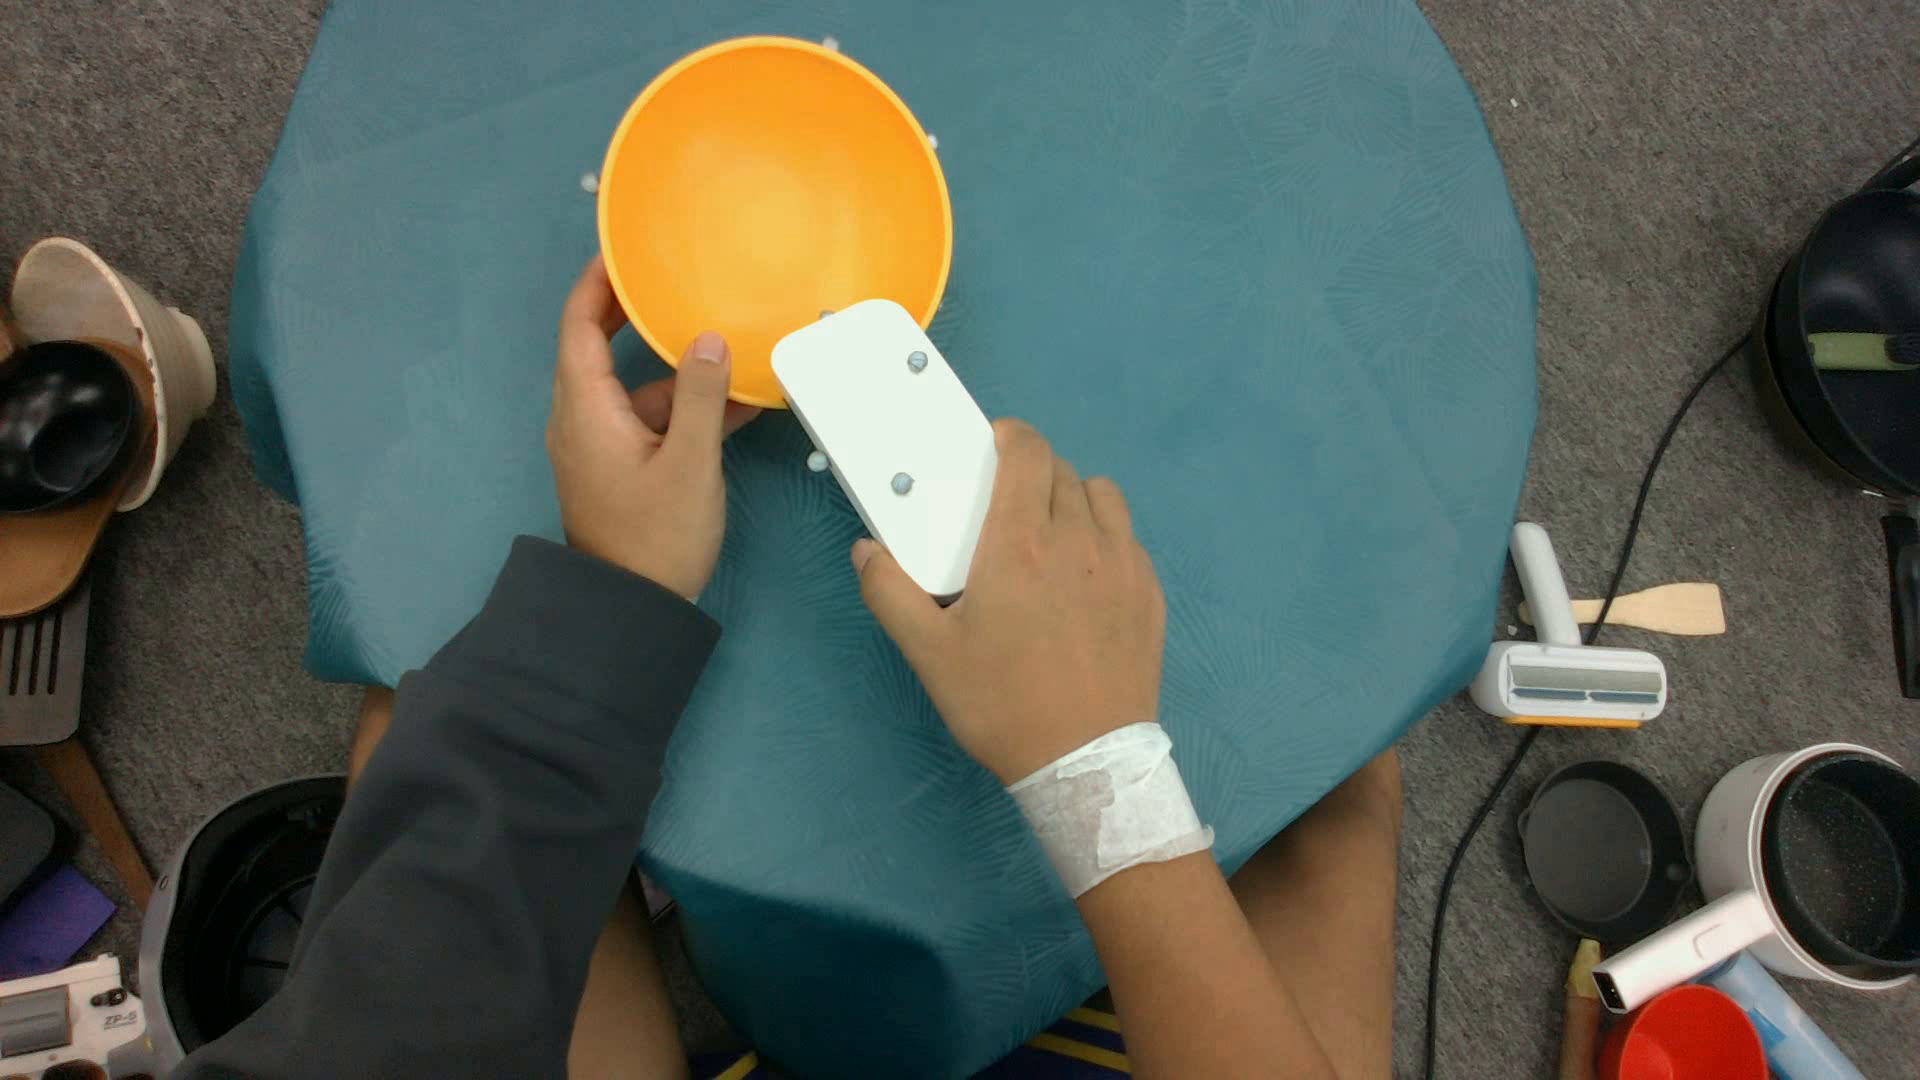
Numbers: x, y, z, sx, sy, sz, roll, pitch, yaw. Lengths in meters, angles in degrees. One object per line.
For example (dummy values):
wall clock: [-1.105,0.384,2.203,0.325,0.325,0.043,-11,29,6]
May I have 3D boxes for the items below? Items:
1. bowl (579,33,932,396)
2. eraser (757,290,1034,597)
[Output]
bowl: [-0.089,-0.135,0.583,0.145,0.060,0.145,-5,103,-21]
eraser: [-0.028,-0.040,0.542,0.063,0.034,0.131,-27,68,-17]
